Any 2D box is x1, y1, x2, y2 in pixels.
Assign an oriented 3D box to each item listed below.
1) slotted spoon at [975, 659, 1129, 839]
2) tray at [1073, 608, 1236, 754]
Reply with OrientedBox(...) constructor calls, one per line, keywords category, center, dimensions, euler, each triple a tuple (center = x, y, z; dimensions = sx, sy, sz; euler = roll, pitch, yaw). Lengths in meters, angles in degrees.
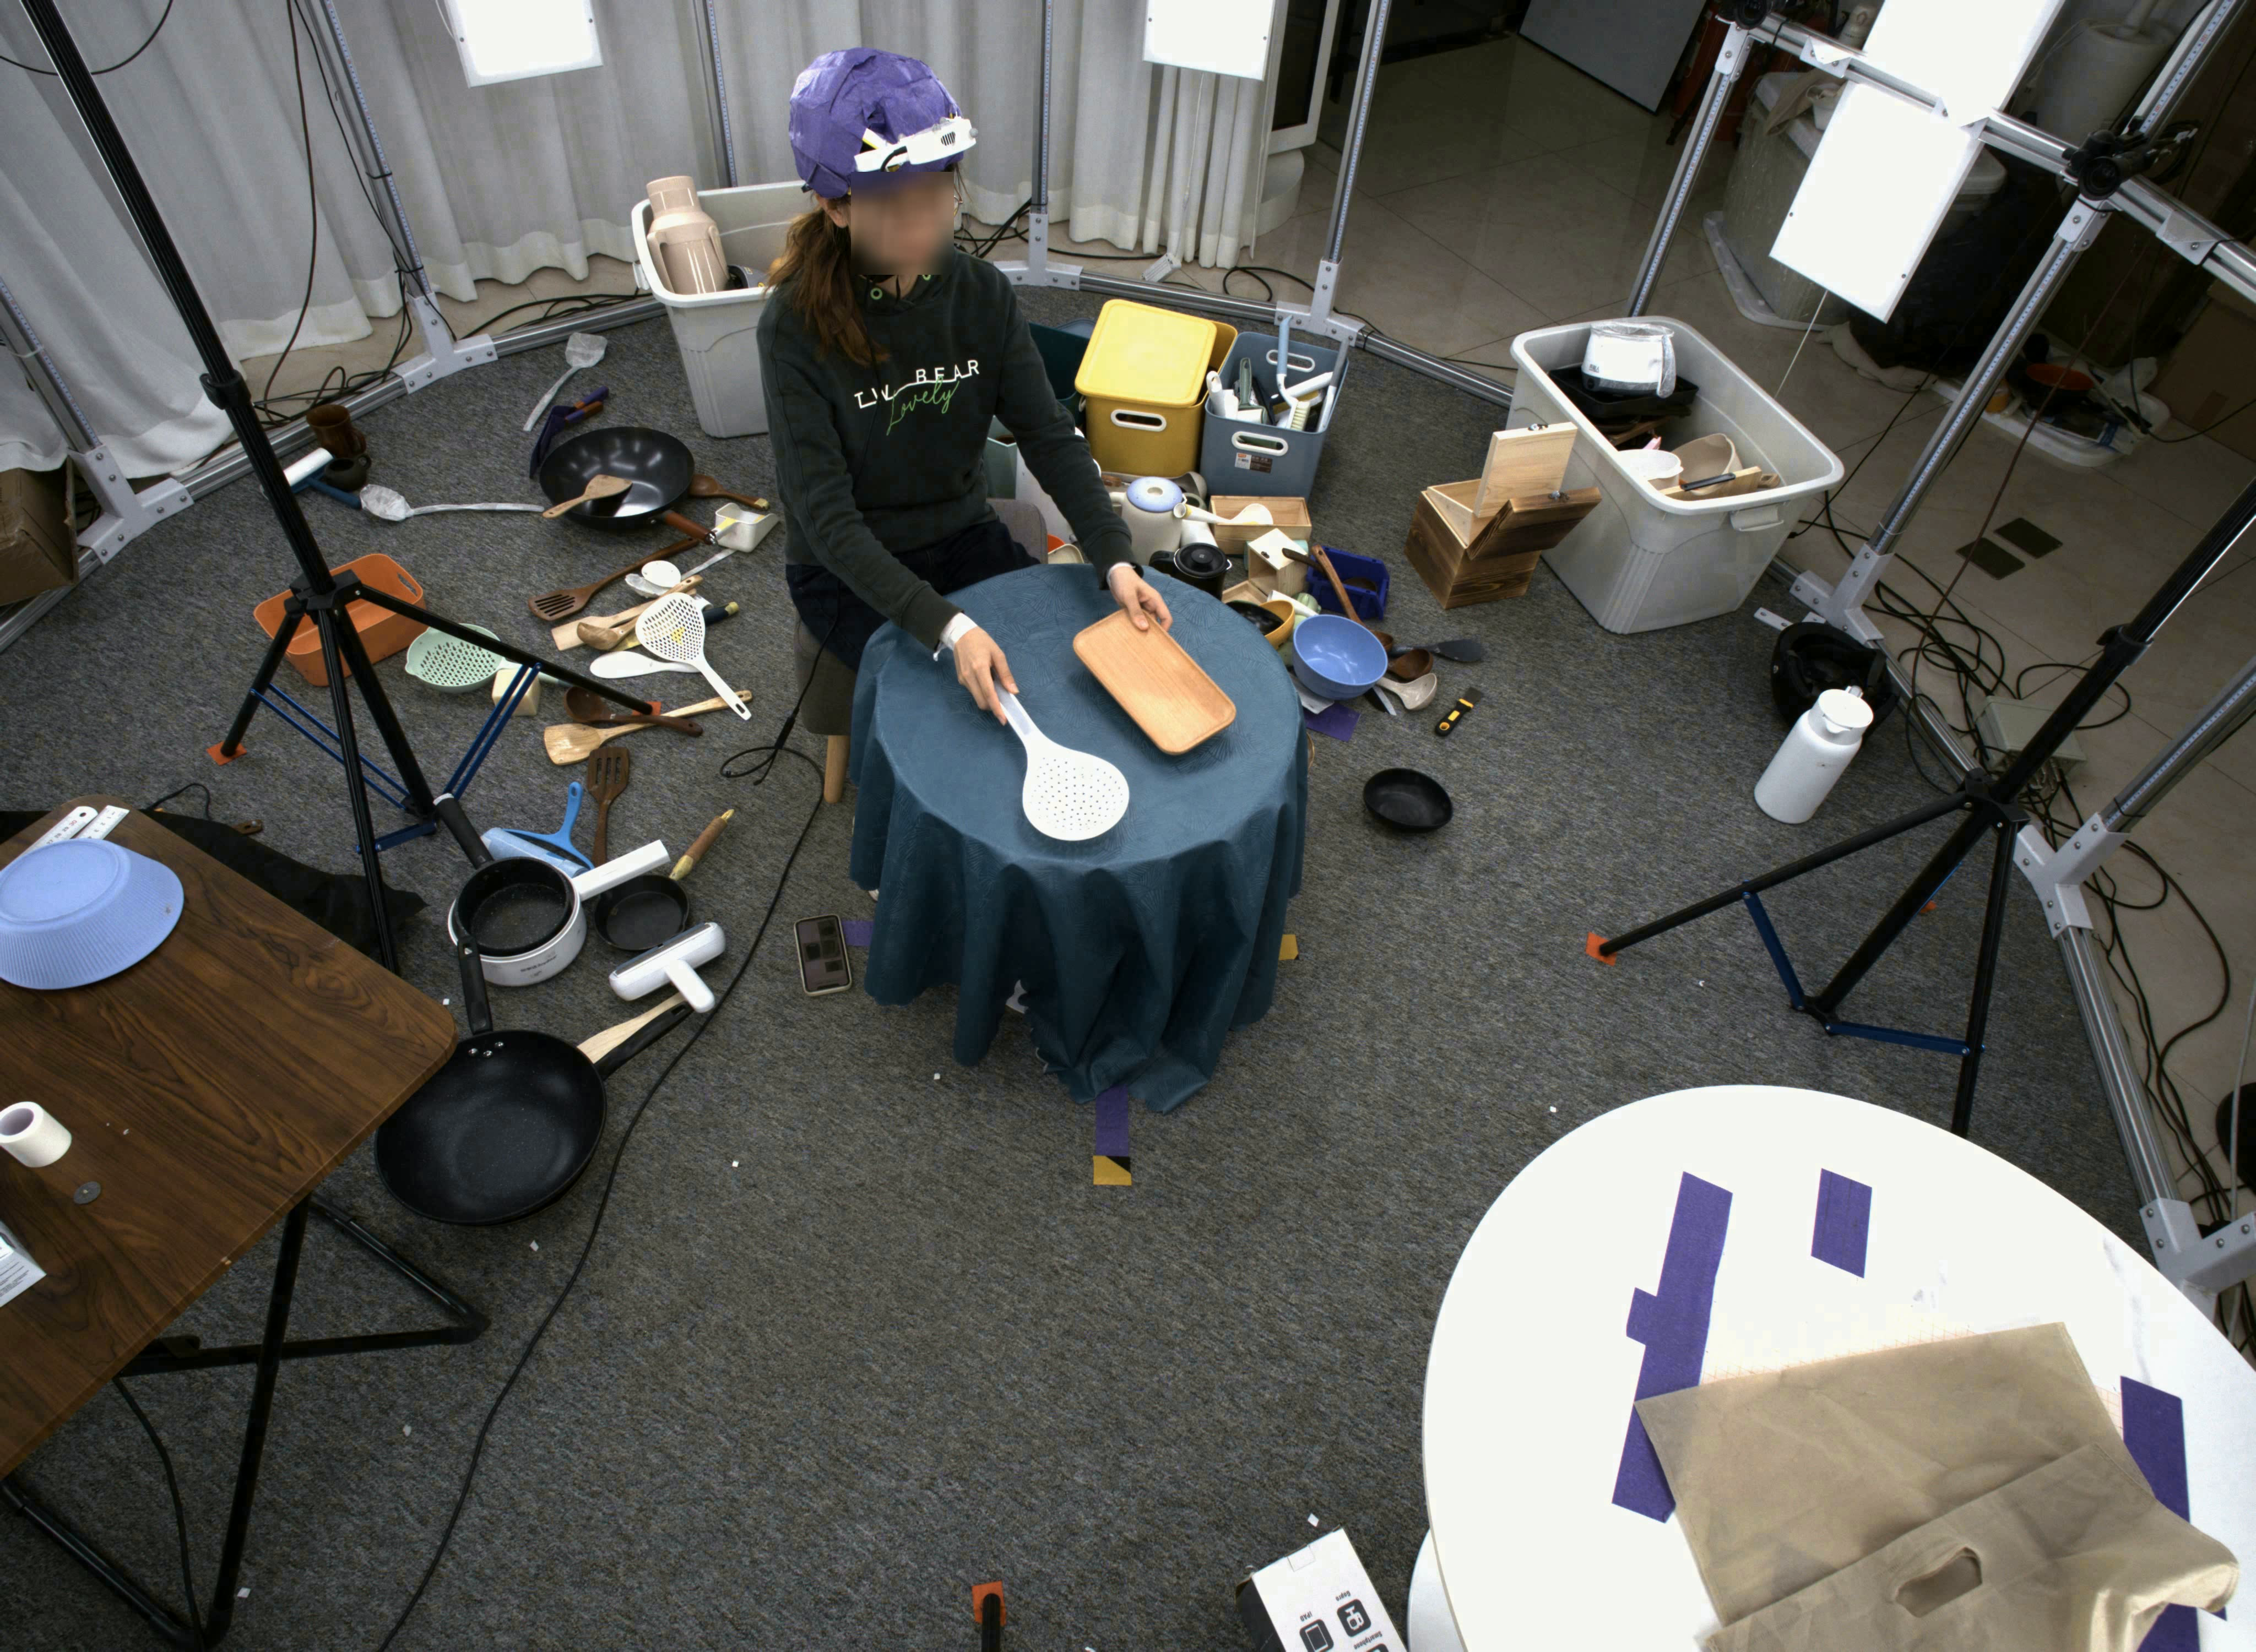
OrientedBox(category="slotted spoon", center=(-0.120, -0.109, 1.724), dimensions=(0.136, 0.044, 0.357), euler=(-25, 60, -16))
OrientedBox(category="tray", center=(0.035, -0.207, 1.811), dimensions=(0.131, 0.022, 0.255), euler=(-30, 61, -20))
